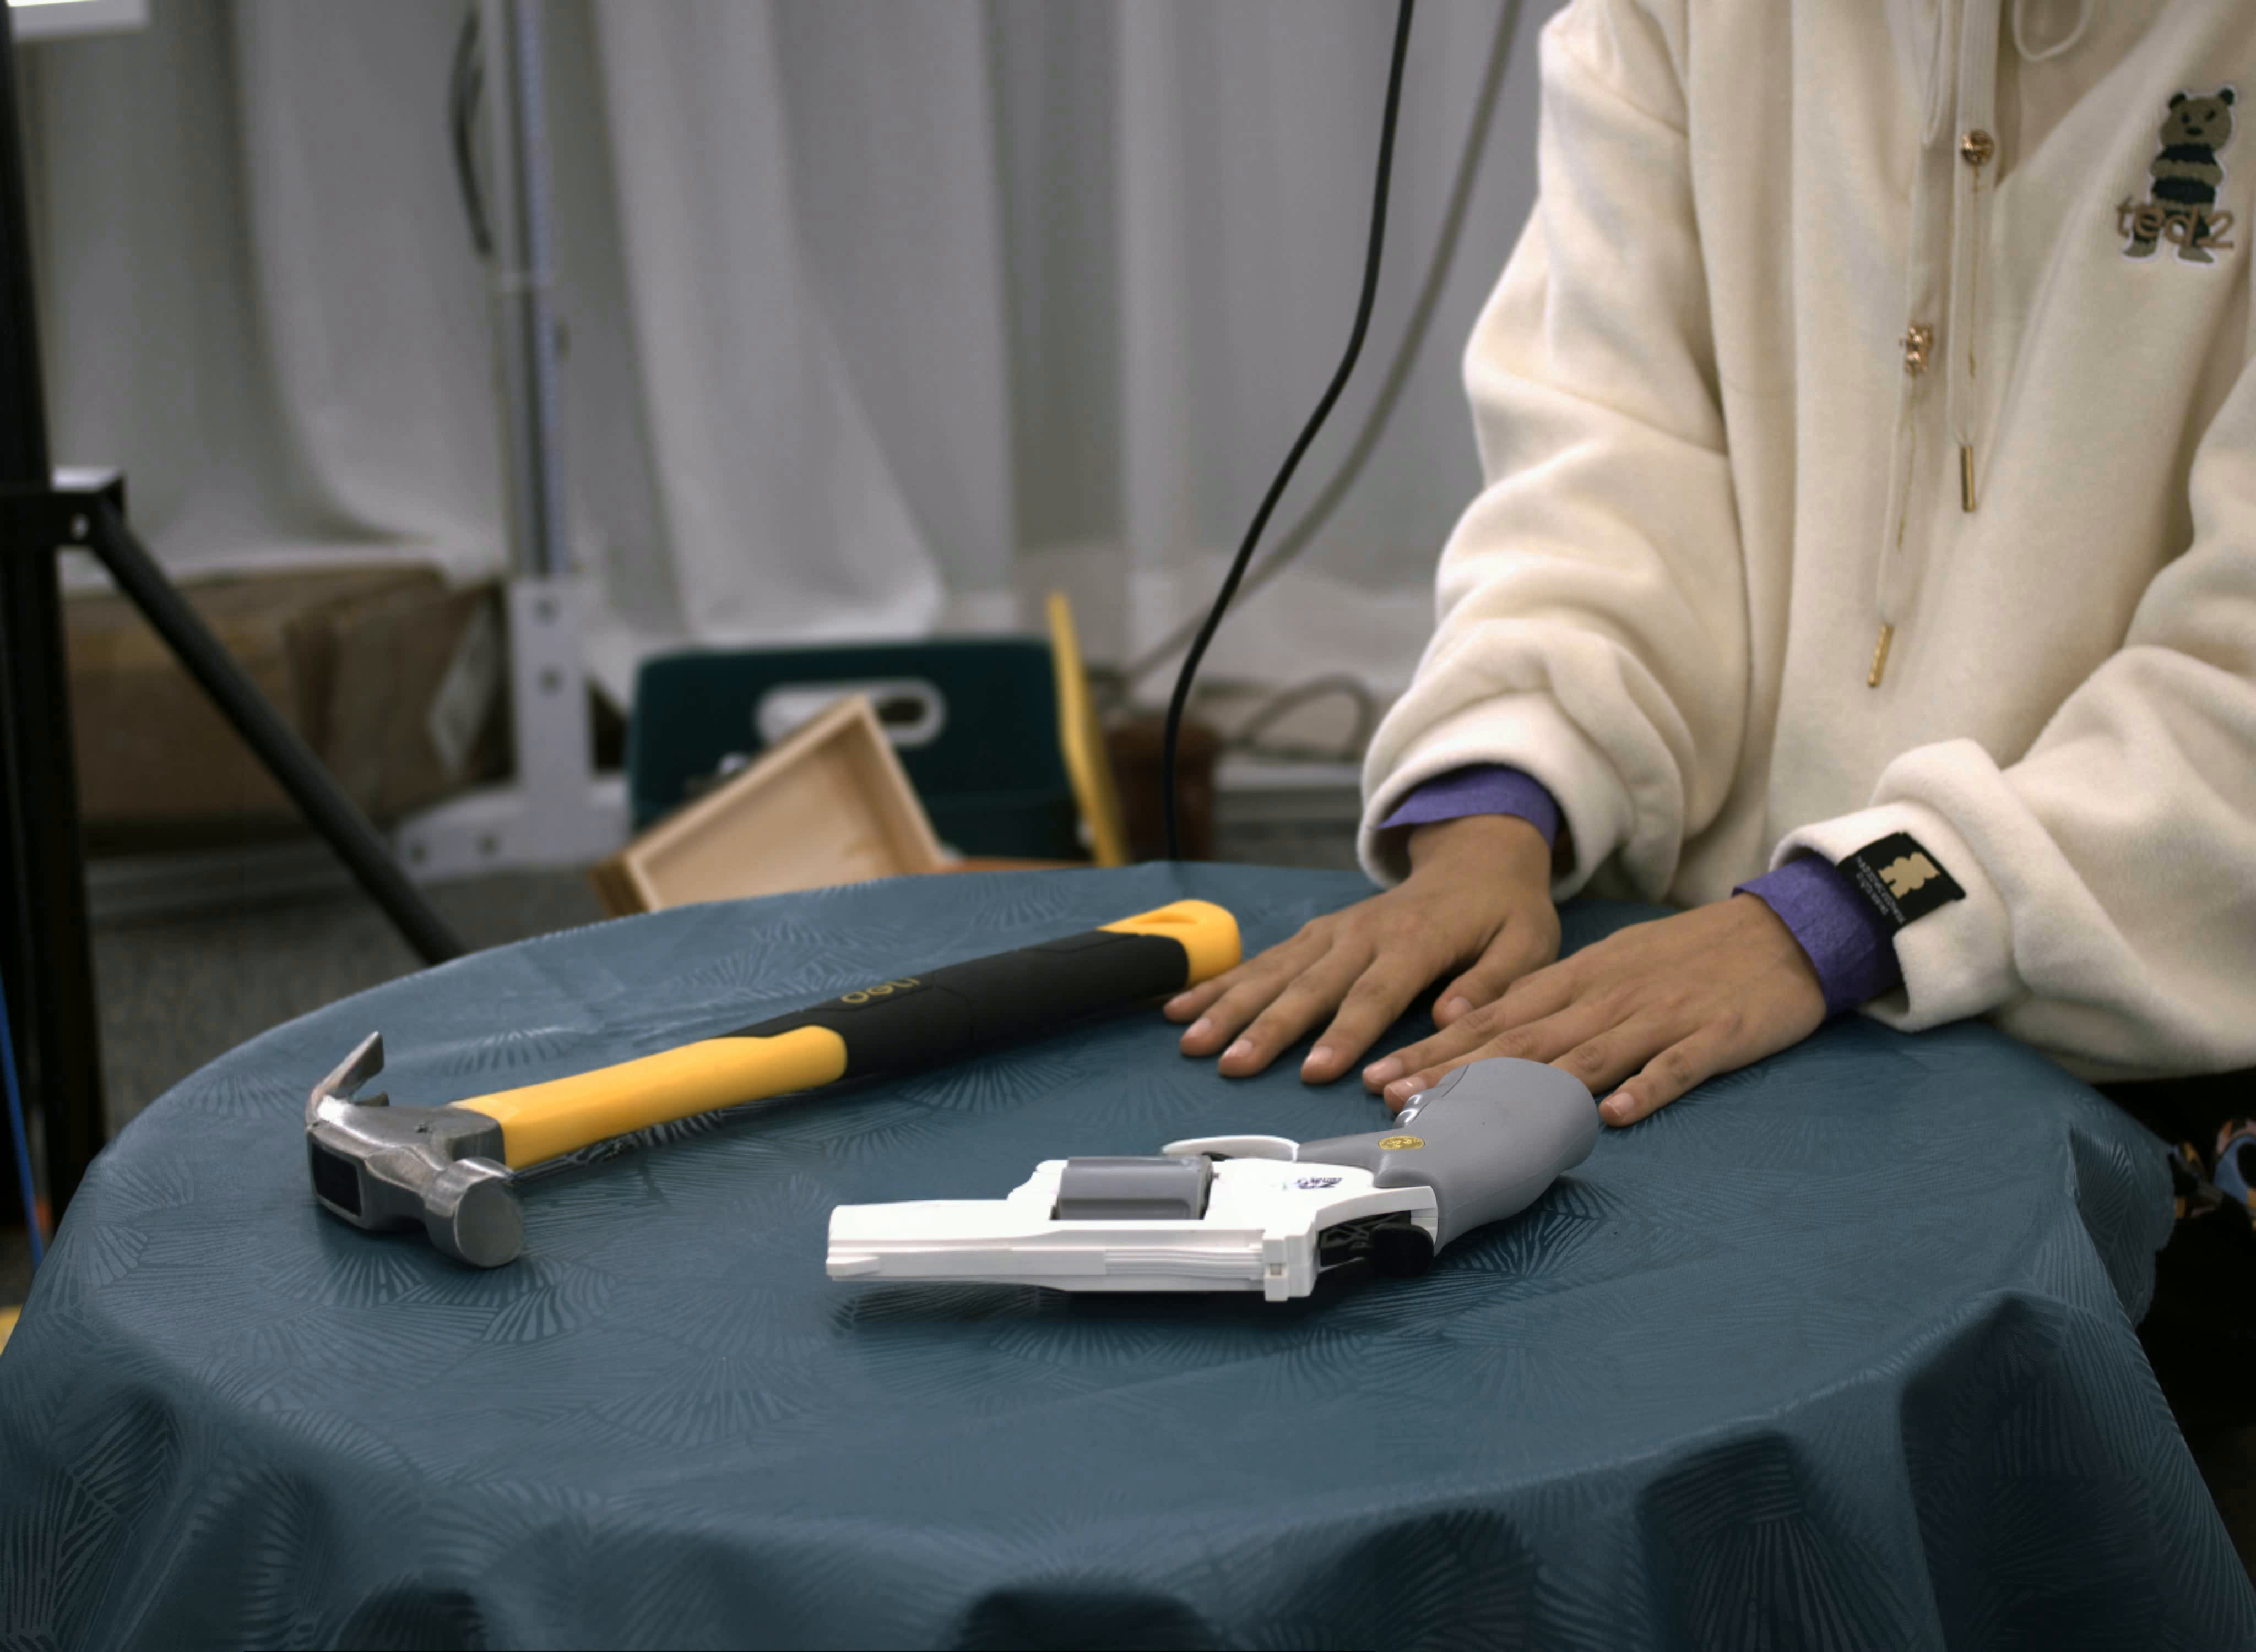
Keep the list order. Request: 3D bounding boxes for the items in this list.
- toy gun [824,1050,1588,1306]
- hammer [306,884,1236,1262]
[{"bbox_3d":[0.025,0.102,1.504,0.209,0.039,0.141,-1,17,8],"label":"toy gun"},{"bbox_3d":[-0.102,0.066,1.654,0.331,0.032,0.134,-16,18,-35],"label":"hammer"}]
